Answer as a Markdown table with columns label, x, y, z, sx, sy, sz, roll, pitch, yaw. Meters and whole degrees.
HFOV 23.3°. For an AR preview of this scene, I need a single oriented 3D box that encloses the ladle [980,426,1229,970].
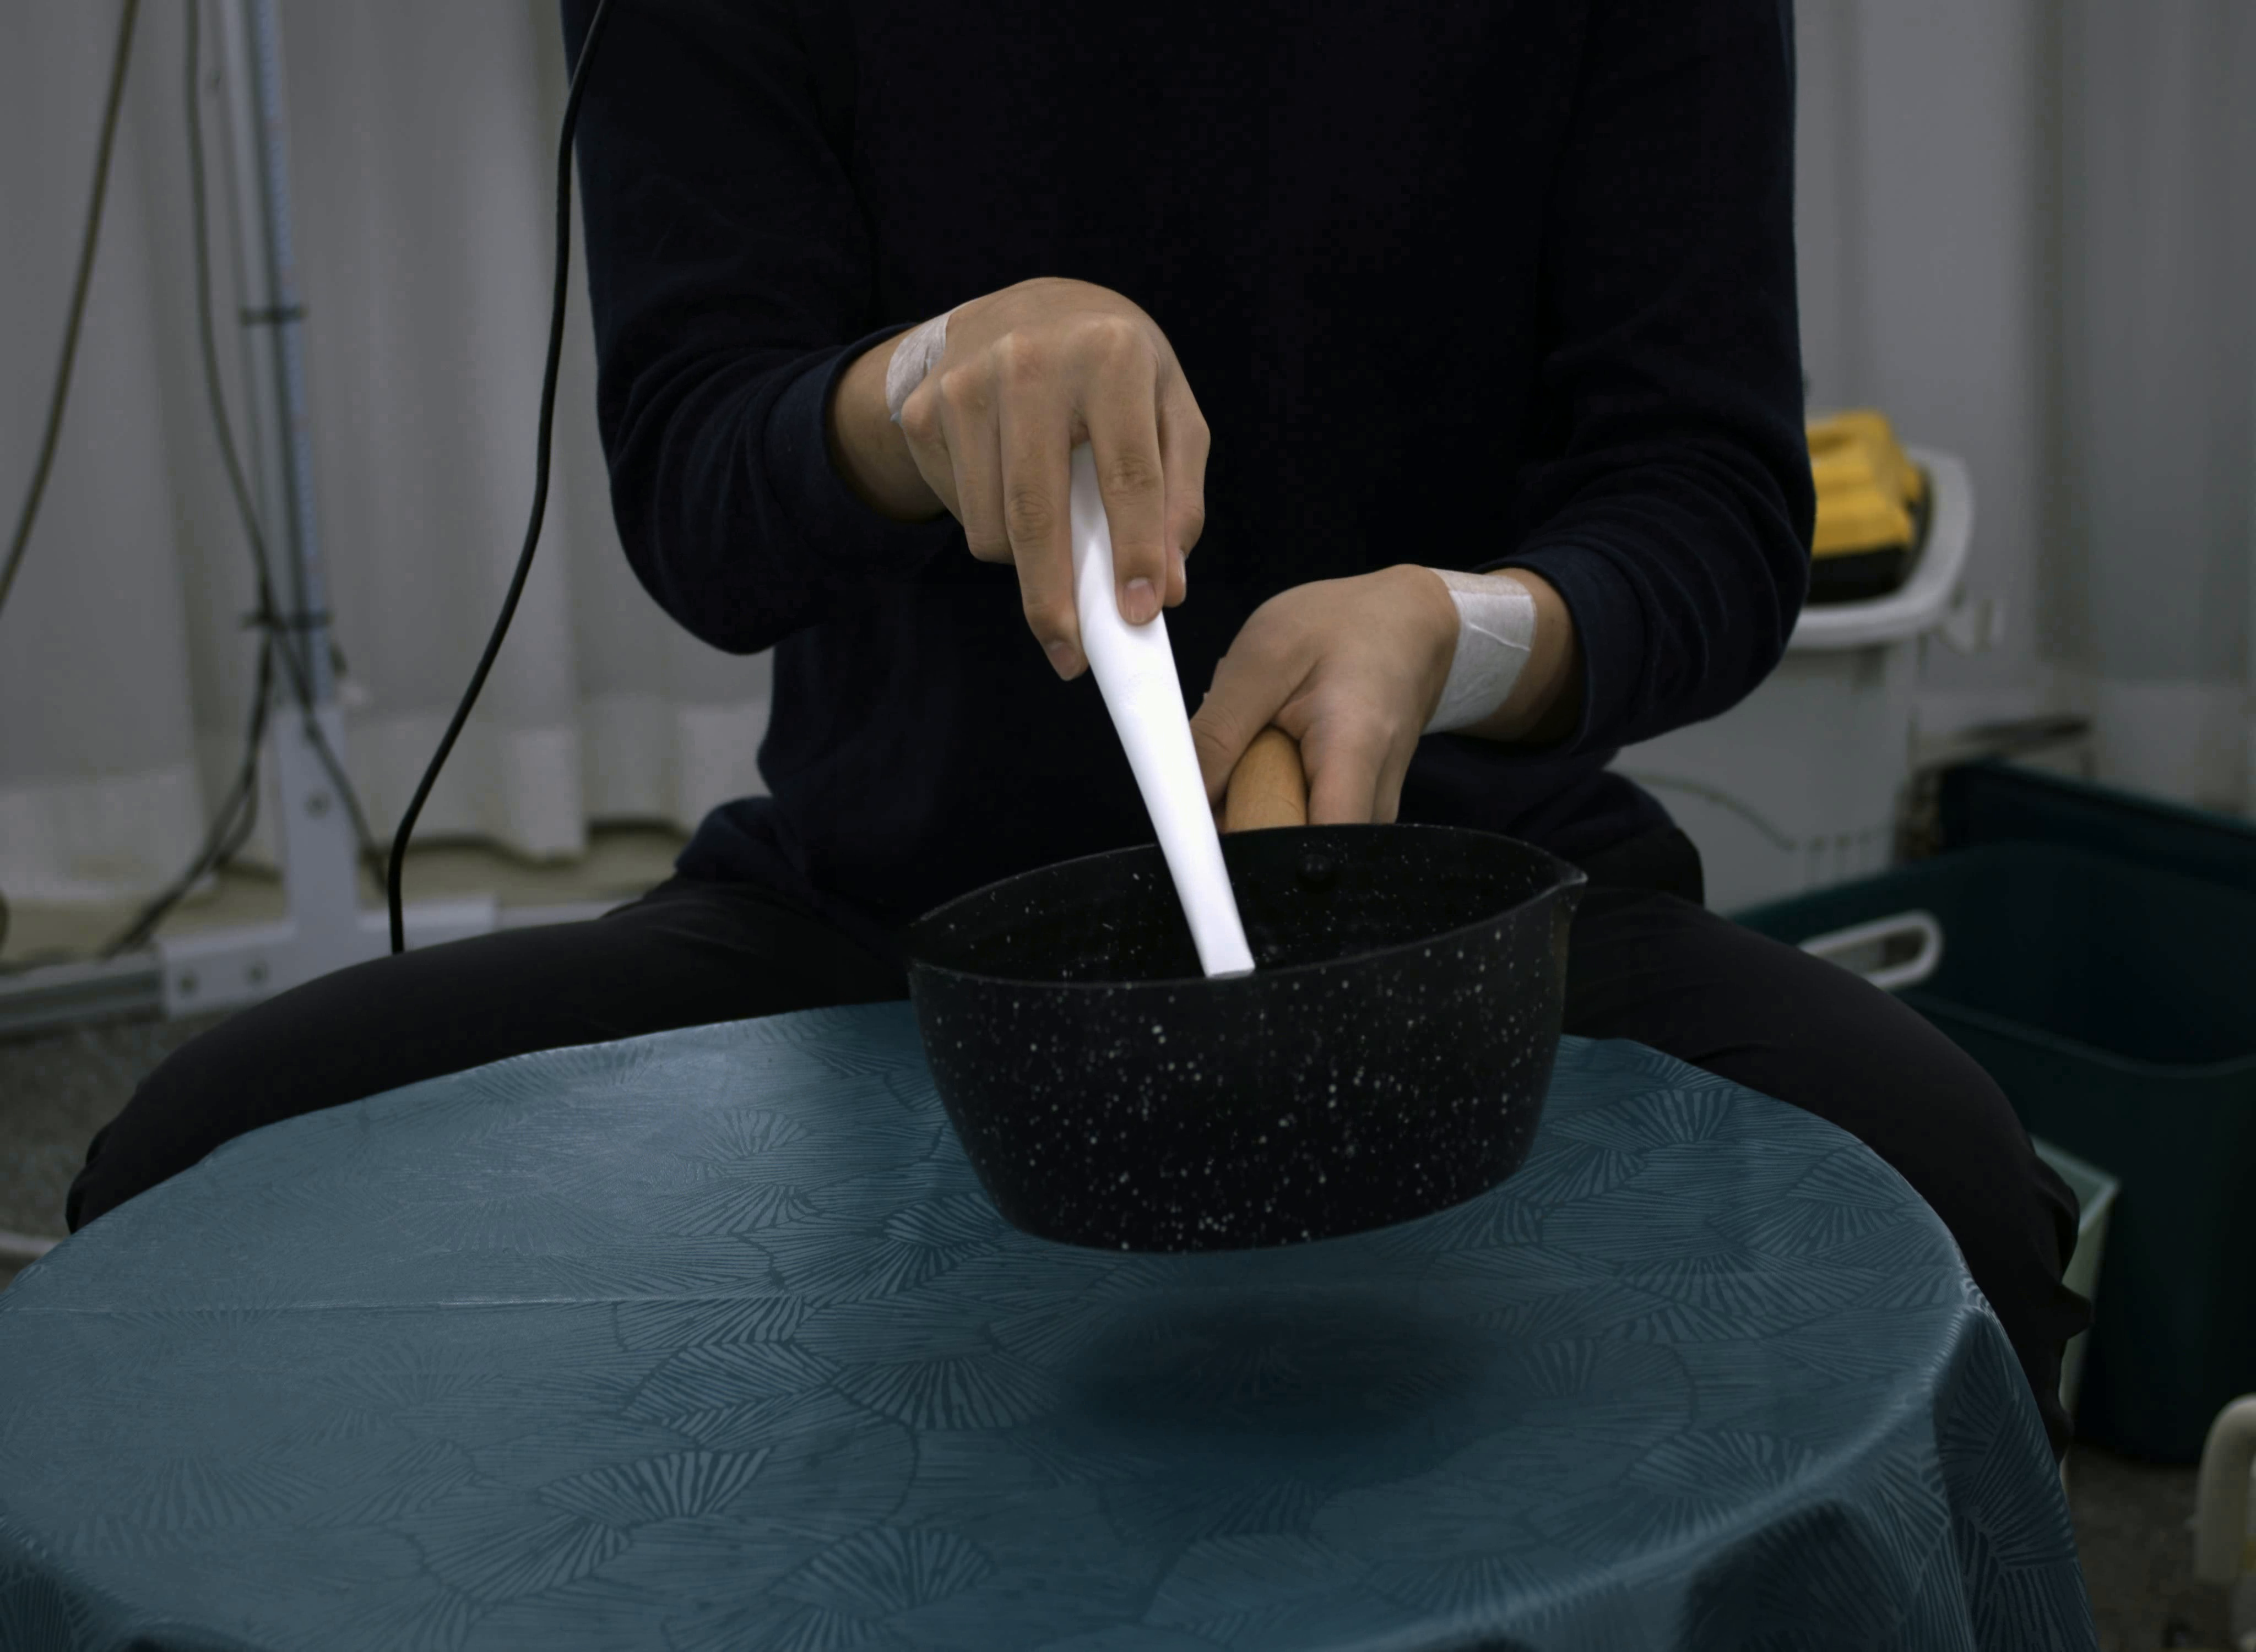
| label | x | y | z | sx | sy | sz | roll | pitch | yaw |
| --- | --- | --- | --- | --- | --- | --- | --- | --- | --- |
| ladle | 0.002 | -0.013 | 1.611 | 0.090 | 0.069 | 0.297 | -22 | 53 | 4 |

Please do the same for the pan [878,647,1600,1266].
| label | x | y | z | sx | sy | sz | roll | pitch | yaw |
| --- | --- | --- | --- | --- | --- | --- | --- | --- | --- |
| pan | 0.038 | 0.033 | 1.618 | 0.207 | 0.108 | 0.344 | -7 | 13 | 5 |
